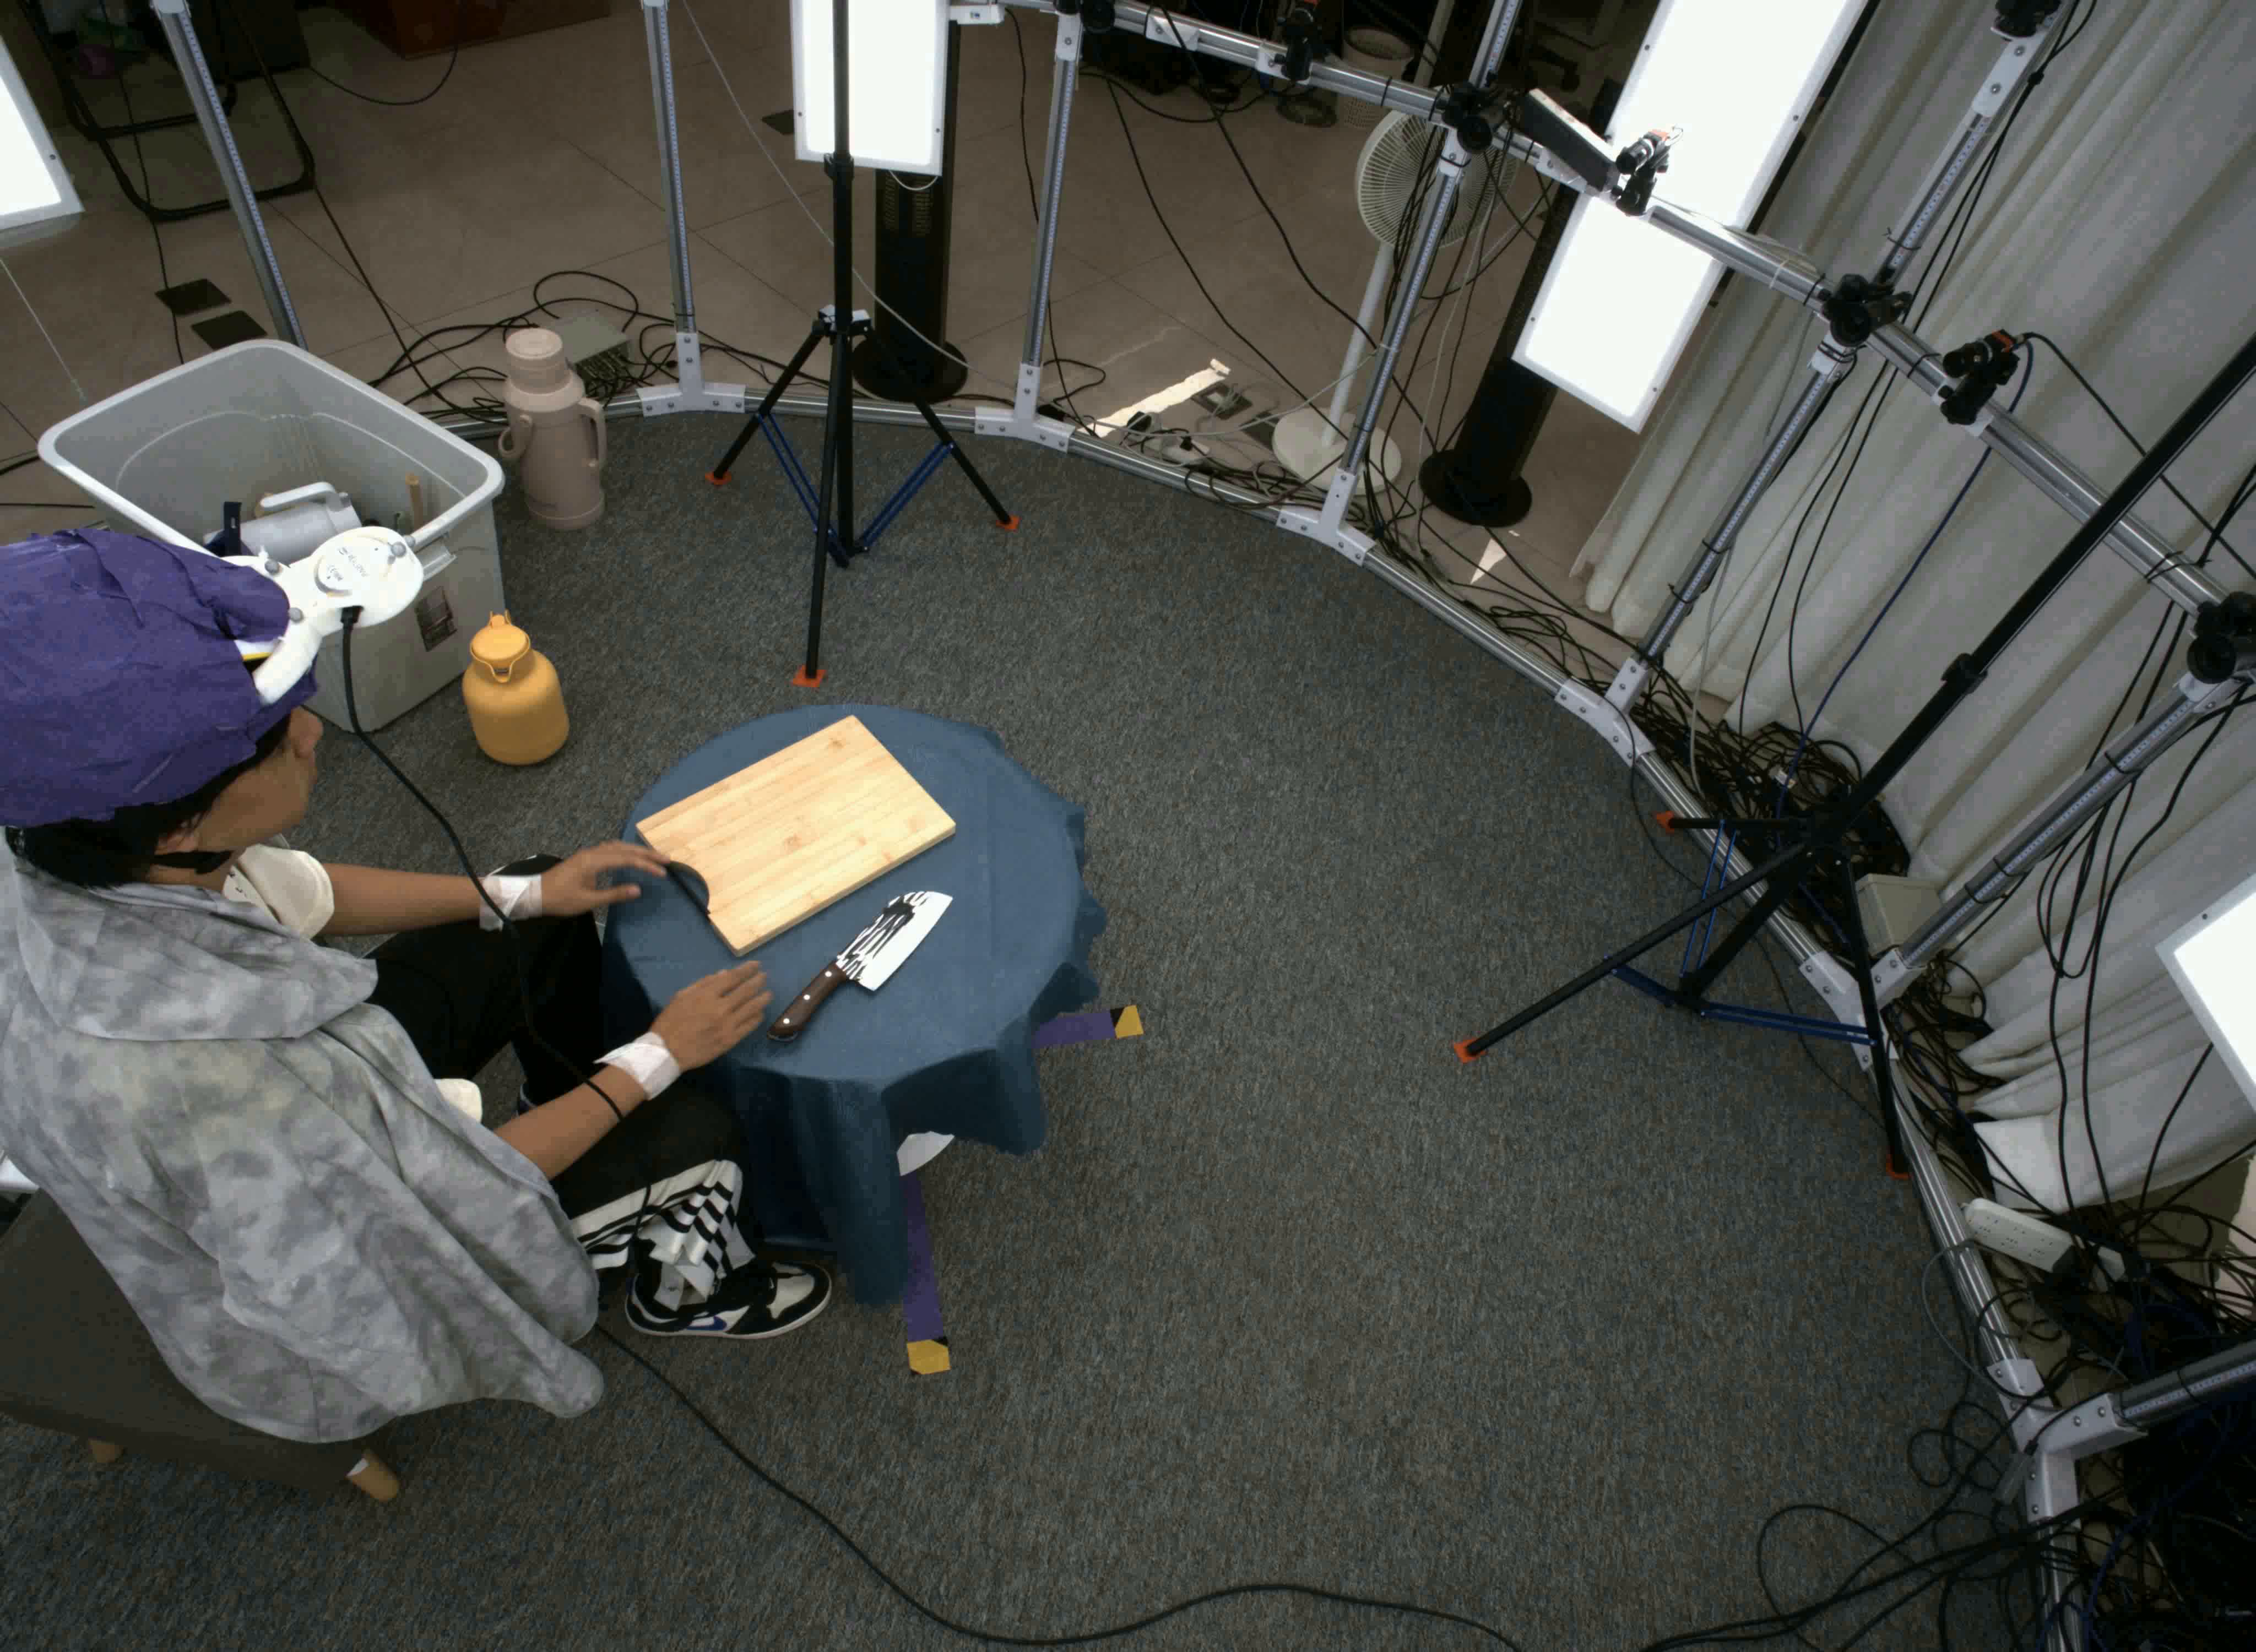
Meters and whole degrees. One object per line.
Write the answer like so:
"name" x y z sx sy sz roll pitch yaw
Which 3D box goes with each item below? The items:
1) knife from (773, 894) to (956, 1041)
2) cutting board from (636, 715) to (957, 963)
"knife" -0.320 0.170 1.613 0.067 0.024 0.299 34 51 10
"cutting board" -0.432 0.006 1.710 0.349 0.024 0.245 -34 67 -31
